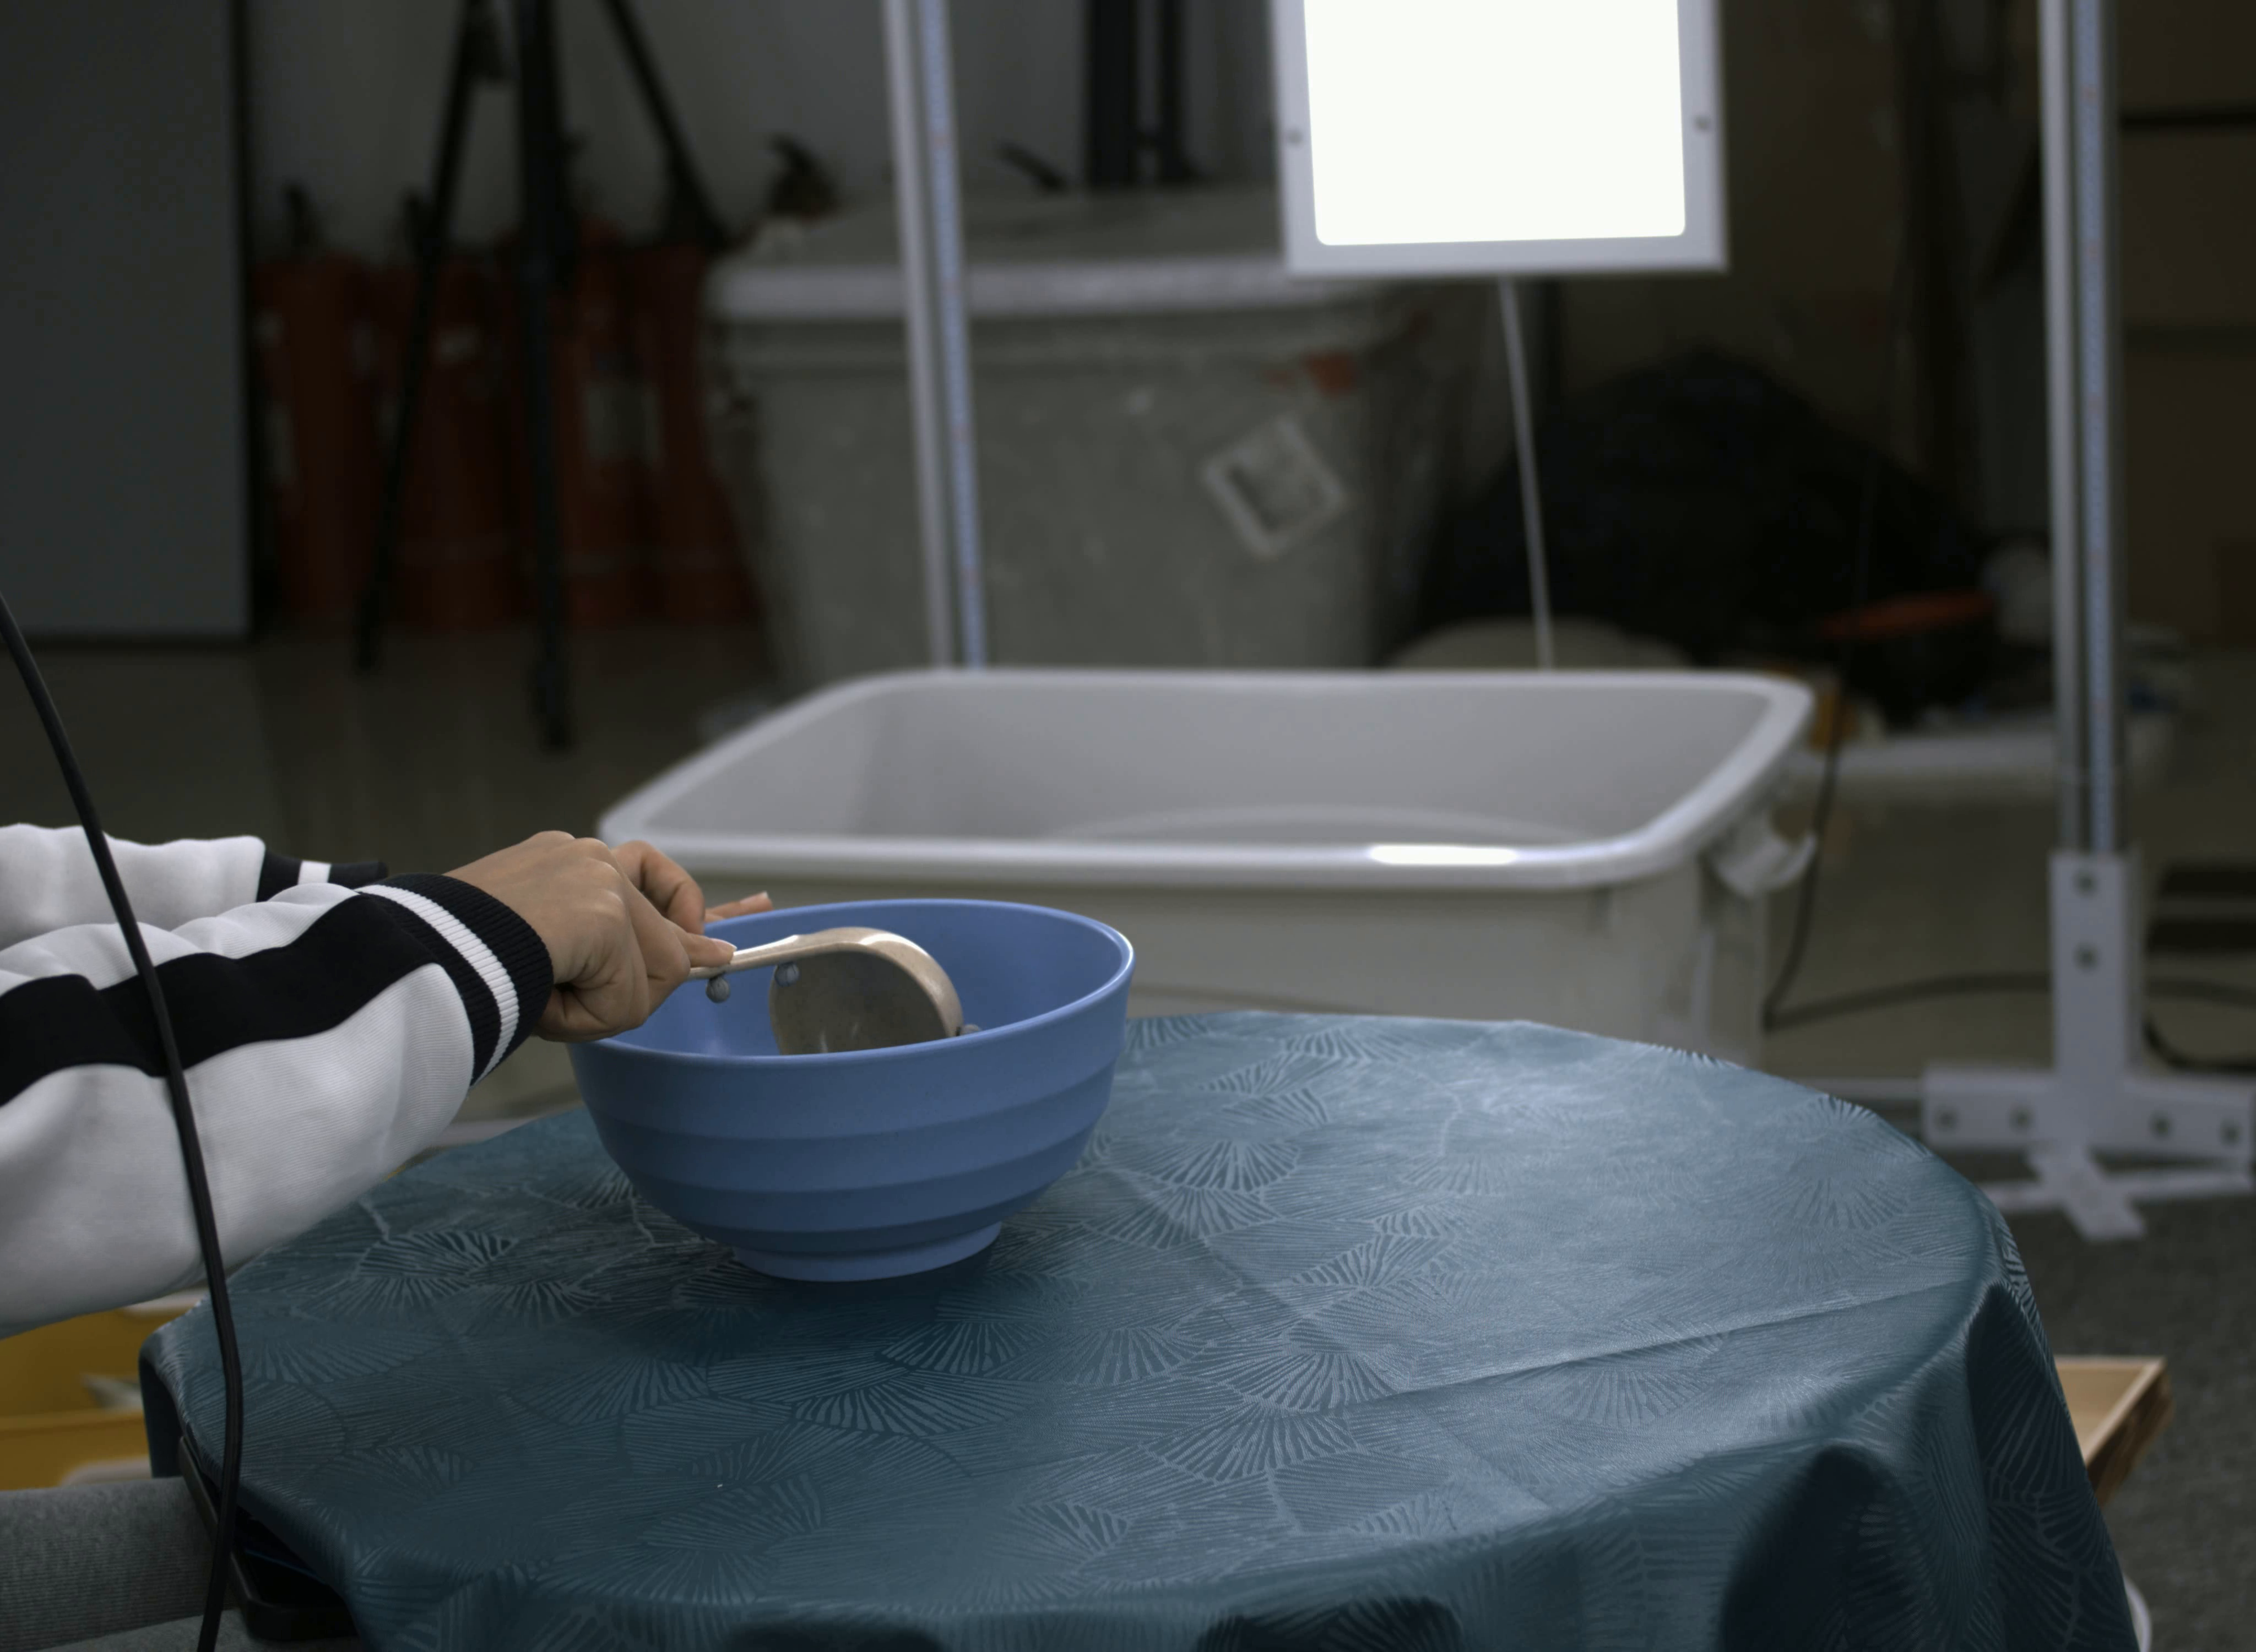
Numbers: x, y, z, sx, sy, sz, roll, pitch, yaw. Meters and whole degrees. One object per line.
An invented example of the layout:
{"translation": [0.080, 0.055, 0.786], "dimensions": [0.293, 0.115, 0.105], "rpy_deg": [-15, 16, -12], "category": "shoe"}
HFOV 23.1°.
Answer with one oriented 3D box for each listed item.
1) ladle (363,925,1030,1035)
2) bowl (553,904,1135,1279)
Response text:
{"translation": [-0.132, 0.070, 1.775], "dimensions": [0.248, 0.073, 0.073], "rpy_deg": [0, 50, -46], "category": "ladle"}
{"translation": [-0.093, 0.094, 1.861], "dimensions": [0.196, 0.096, 0.196], "rpy_deg": [-3, 12, -1], "category": "bowl"}
